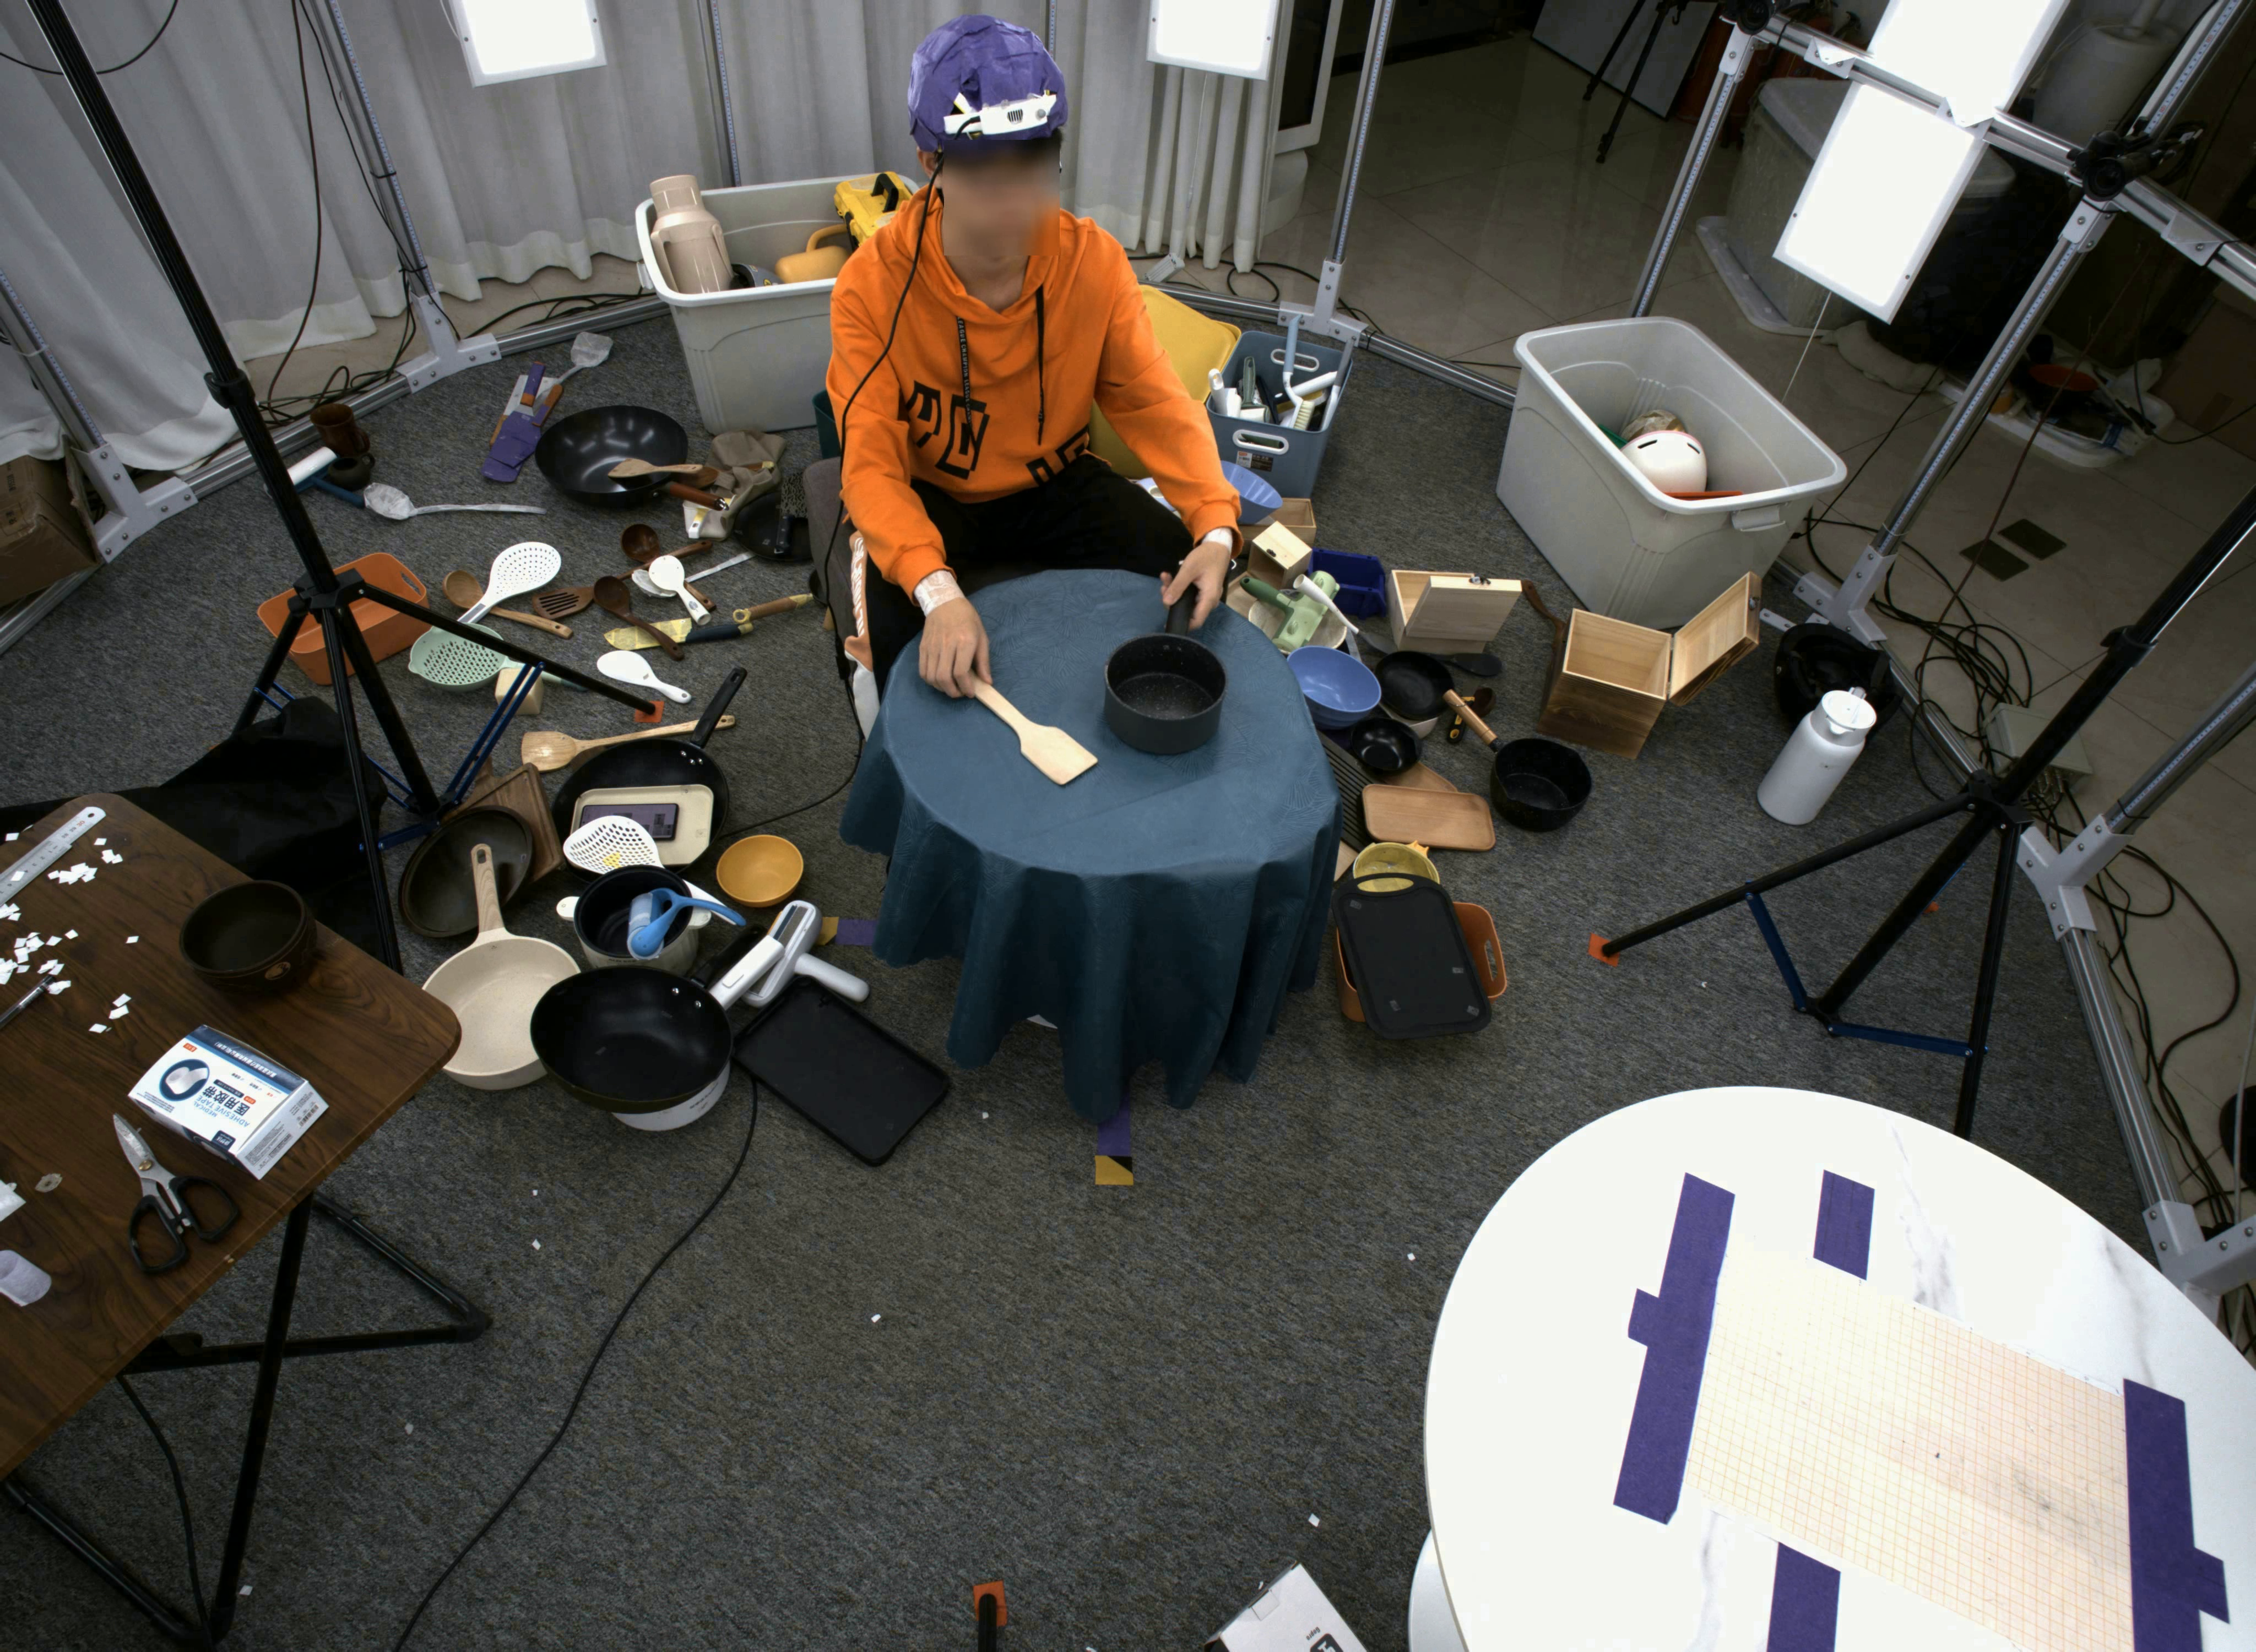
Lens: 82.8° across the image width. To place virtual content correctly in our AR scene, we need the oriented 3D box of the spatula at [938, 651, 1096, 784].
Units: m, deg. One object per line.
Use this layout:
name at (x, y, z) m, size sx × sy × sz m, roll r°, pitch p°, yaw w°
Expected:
spatula at (-0.167, -0.158, 1.786) m, size 0.073 × 0.010 × 0.297 m, roll -35°, pitch 61°, yaw -26°

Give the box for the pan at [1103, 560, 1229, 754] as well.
pan at (0.067, -0.245, 1.831) m, size 0.172 × 0.084 × 0.336 m, roll 12°, pitch 51°, yaw 5°
